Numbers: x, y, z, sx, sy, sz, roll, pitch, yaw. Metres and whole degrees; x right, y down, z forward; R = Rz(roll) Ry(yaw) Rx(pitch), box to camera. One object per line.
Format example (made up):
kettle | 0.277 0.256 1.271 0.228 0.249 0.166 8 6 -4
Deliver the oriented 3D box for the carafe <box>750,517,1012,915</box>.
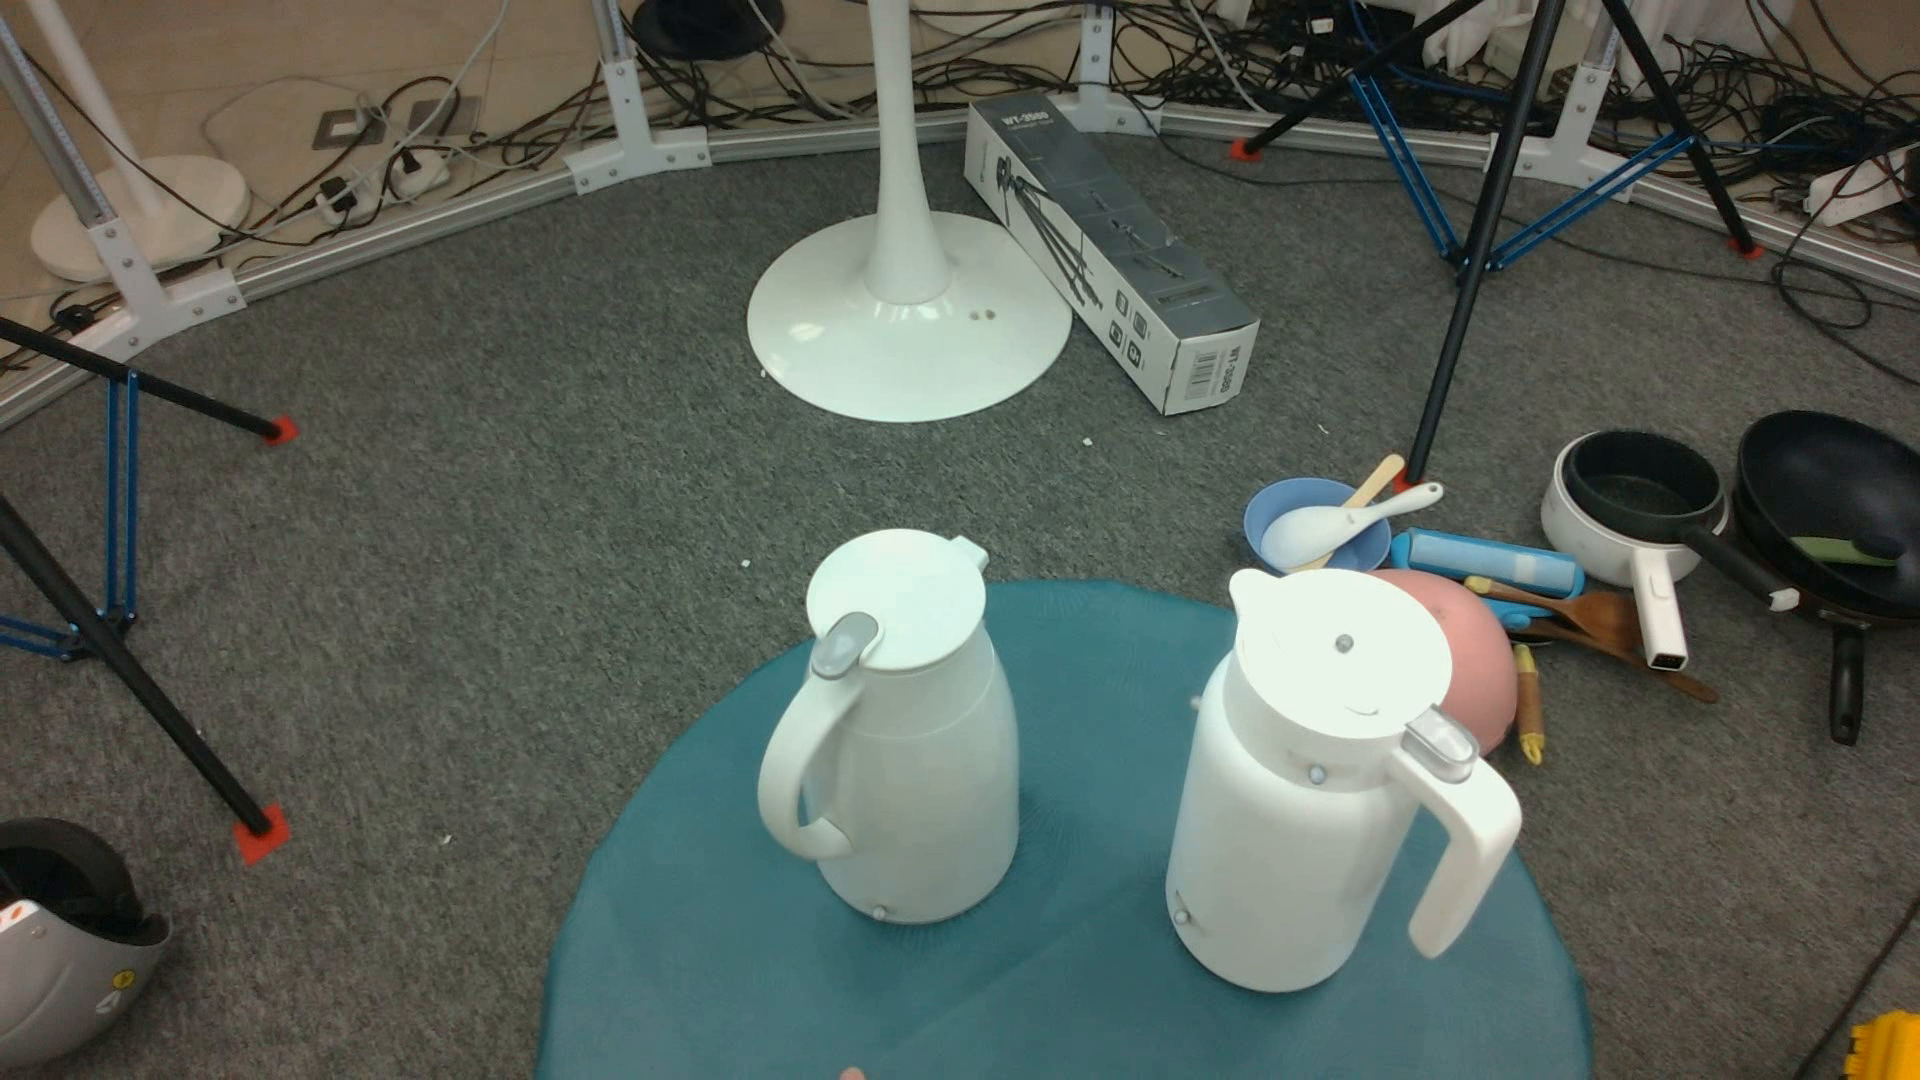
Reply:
carafe | -0.047 0.110 0.773 0.132 0.247 0.168 31 57 24

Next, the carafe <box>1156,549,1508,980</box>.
carafe | 0.188 0.140 0.734 0.124 0.267 0.173 -30 55 -25
